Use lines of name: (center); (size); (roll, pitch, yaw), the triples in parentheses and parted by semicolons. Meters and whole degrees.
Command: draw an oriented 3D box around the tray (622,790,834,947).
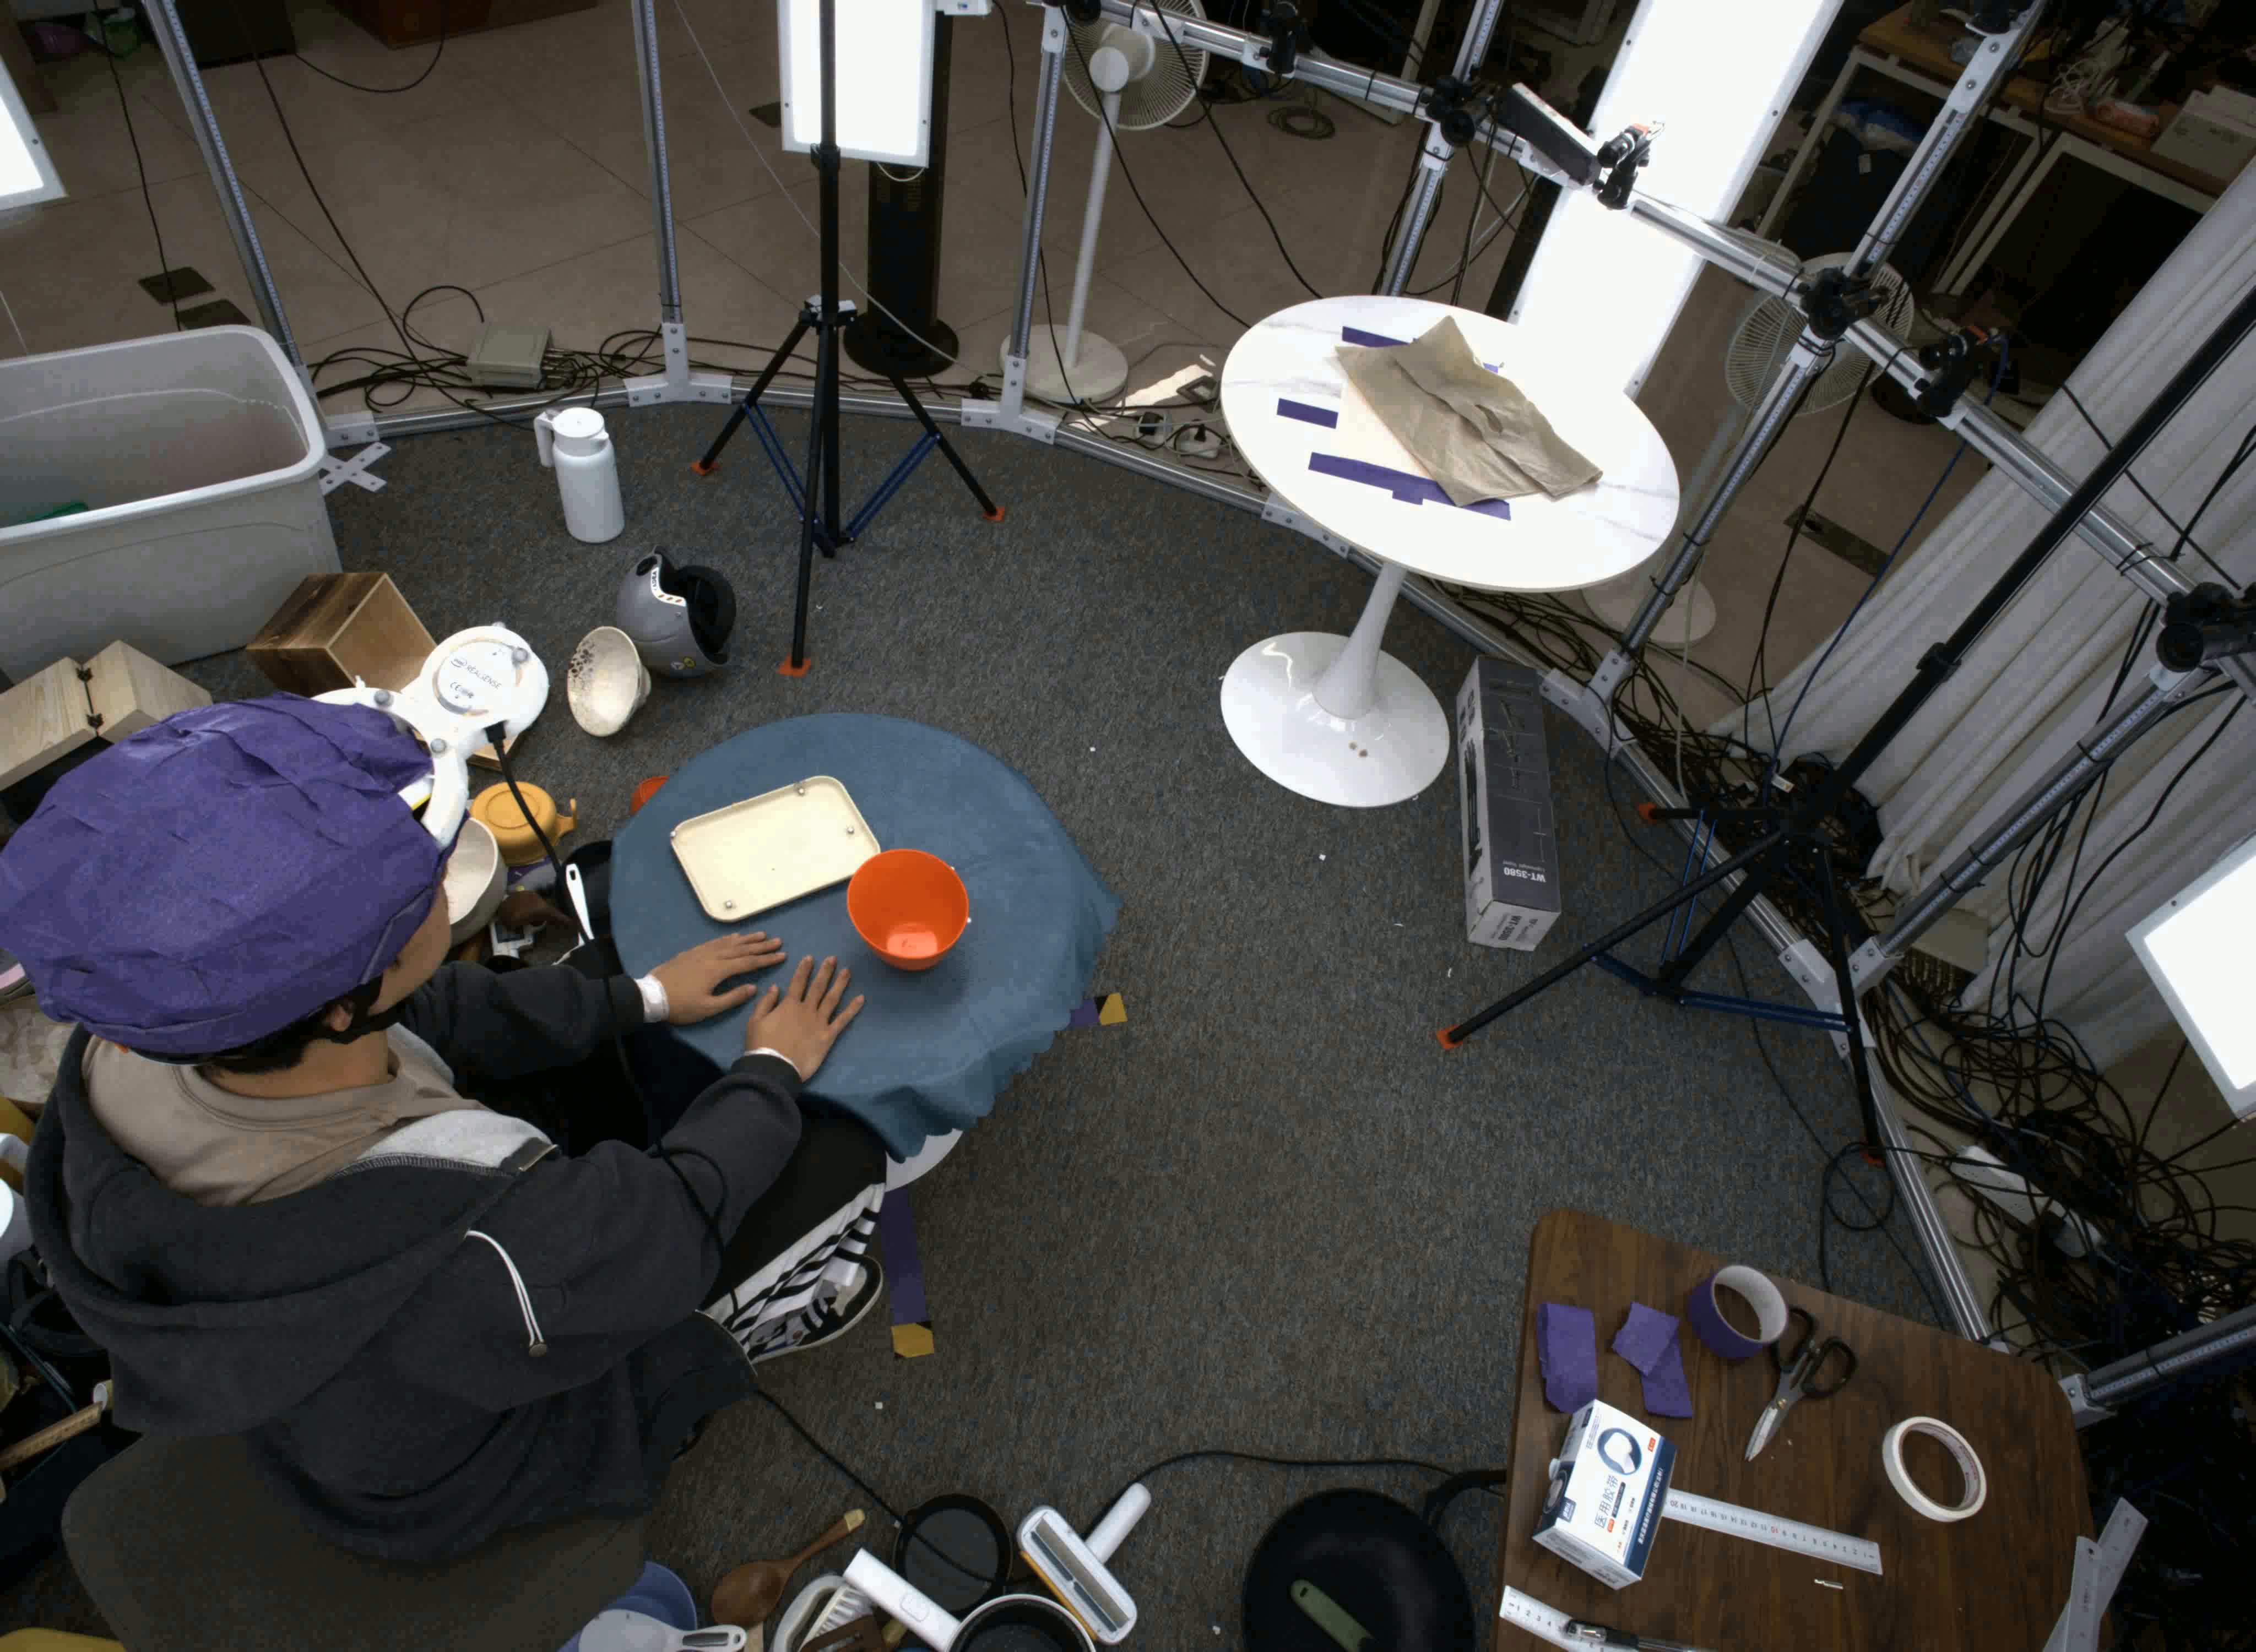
tray: (-0.513, 0.051, 1.657); (0.241, 0.018, 0.167); (-25, 64, -29)

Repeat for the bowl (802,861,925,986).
bowl: (-0.323, 0.130, 1.592); (0.148, 0.107, 0.145); (8, 50, -8)
